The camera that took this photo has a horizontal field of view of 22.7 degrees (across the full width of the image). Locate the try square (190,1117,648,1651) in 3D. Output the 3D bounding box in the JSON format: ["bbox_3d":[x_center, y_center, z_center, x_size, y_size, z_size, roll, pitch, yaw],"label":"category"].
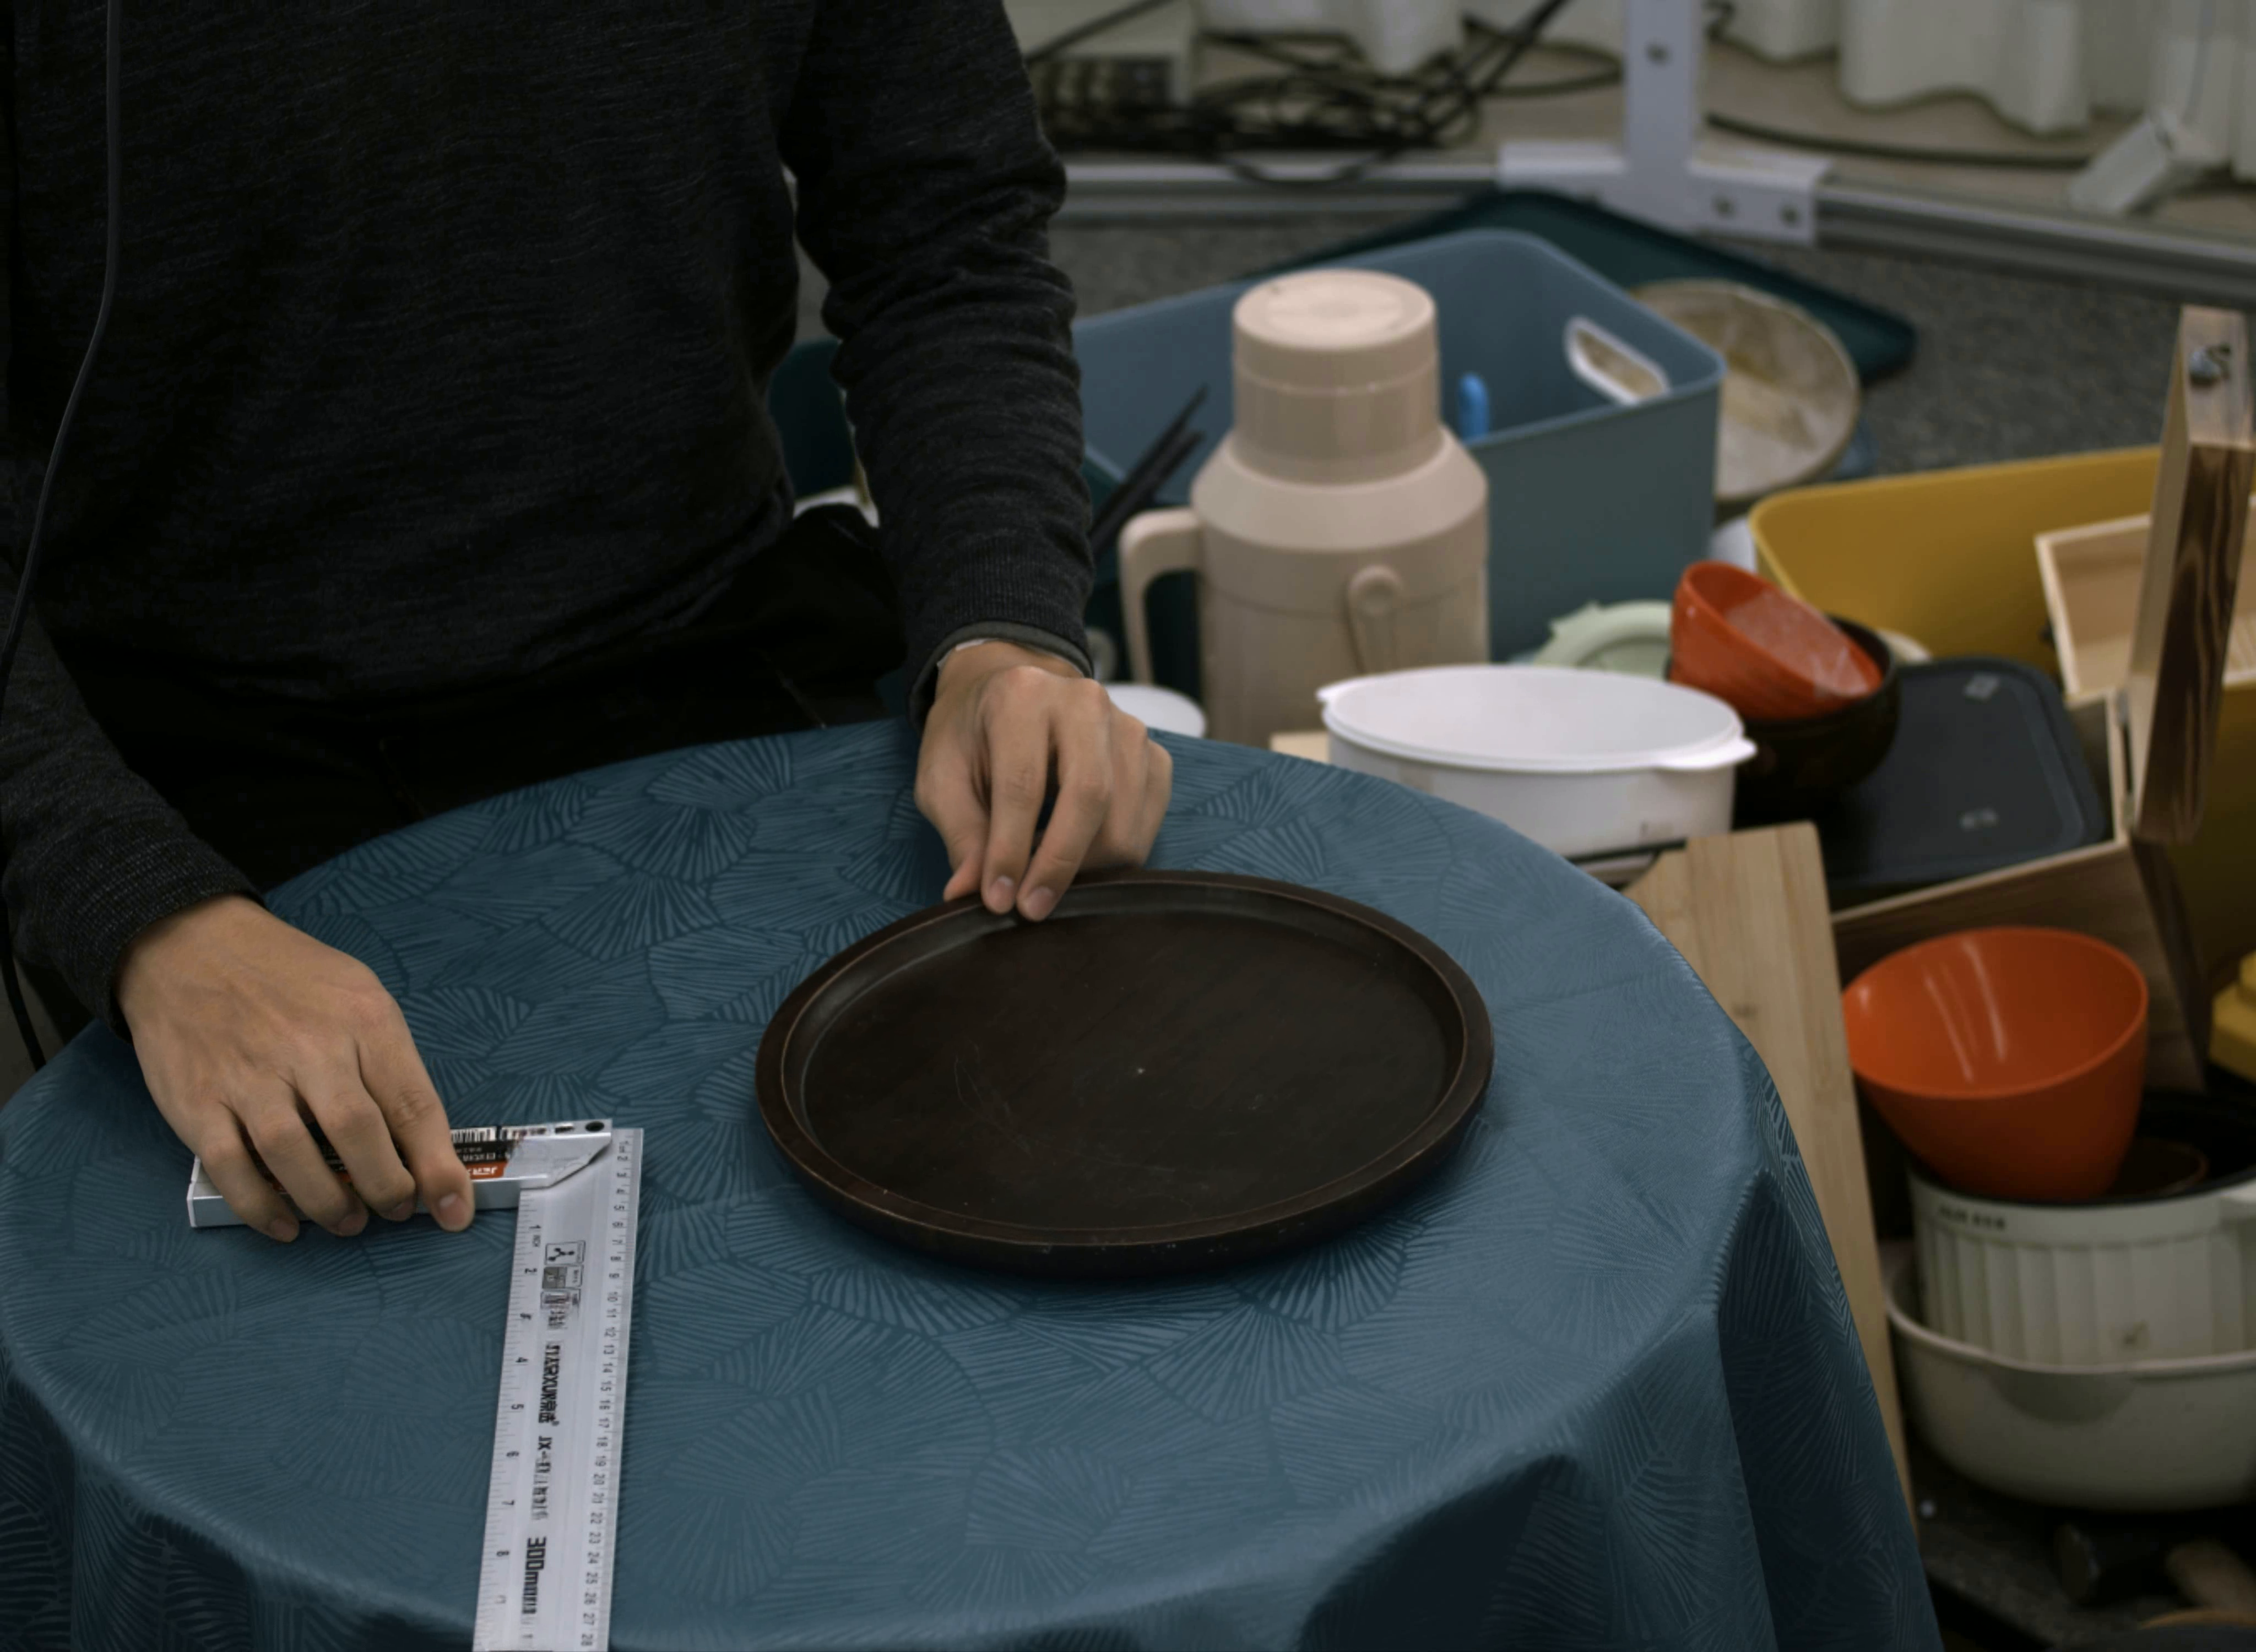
[{"bbox_3d":[-0.231,0.182,1.759,0.151,0.016,0.317,-3,29,-1],"label":"try square"}]

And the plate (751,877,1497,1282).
[{"bbox_3d":[-0.002,0.084,1.909,0.253,0.029,0.259,-2,28,2],"label":"plate"}]
